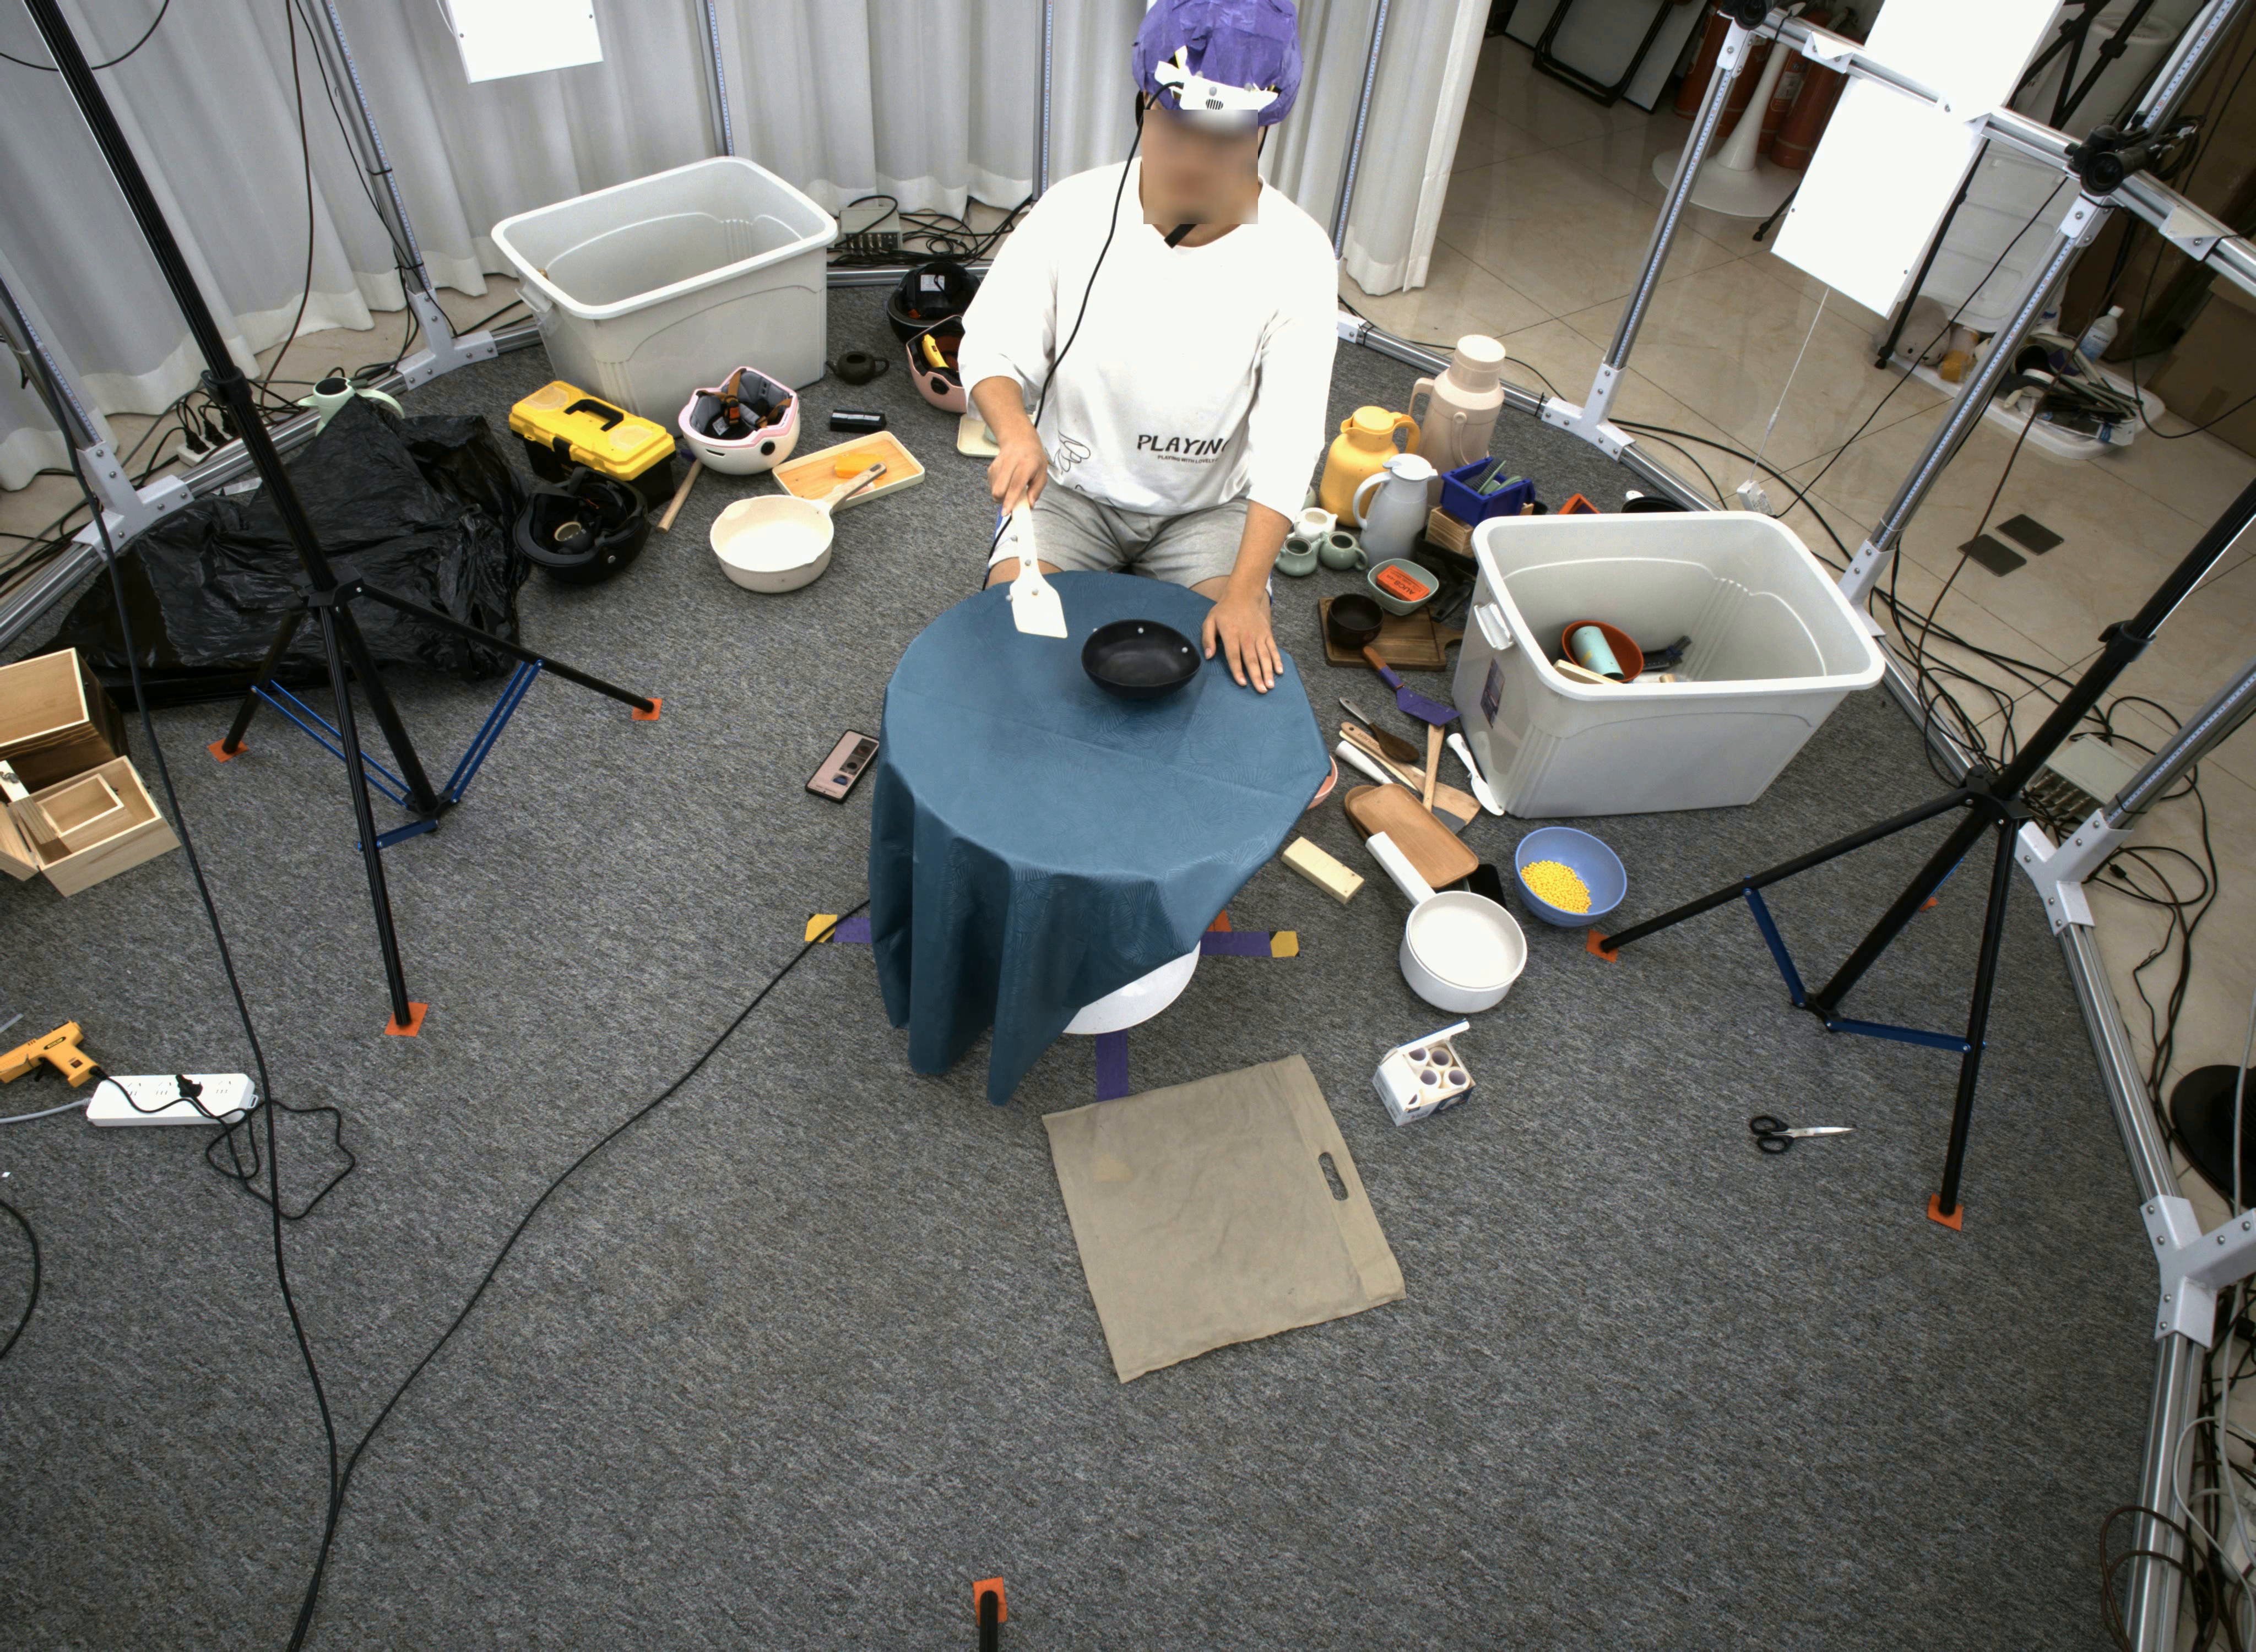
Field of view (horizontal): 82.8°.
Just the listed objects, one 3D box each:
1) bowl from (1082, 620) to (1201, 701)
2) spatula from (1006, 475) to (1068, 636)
[{"bbox_3d":[0.018,-0.225,1.820,0.170,0.065,0.141,-3,49,-10],"label":"bowl"},{"bbox_3d":[-0.137,-0.376,1.765,0.072,0.010,0.300,4,55,-23],"label":"spatula"}]
